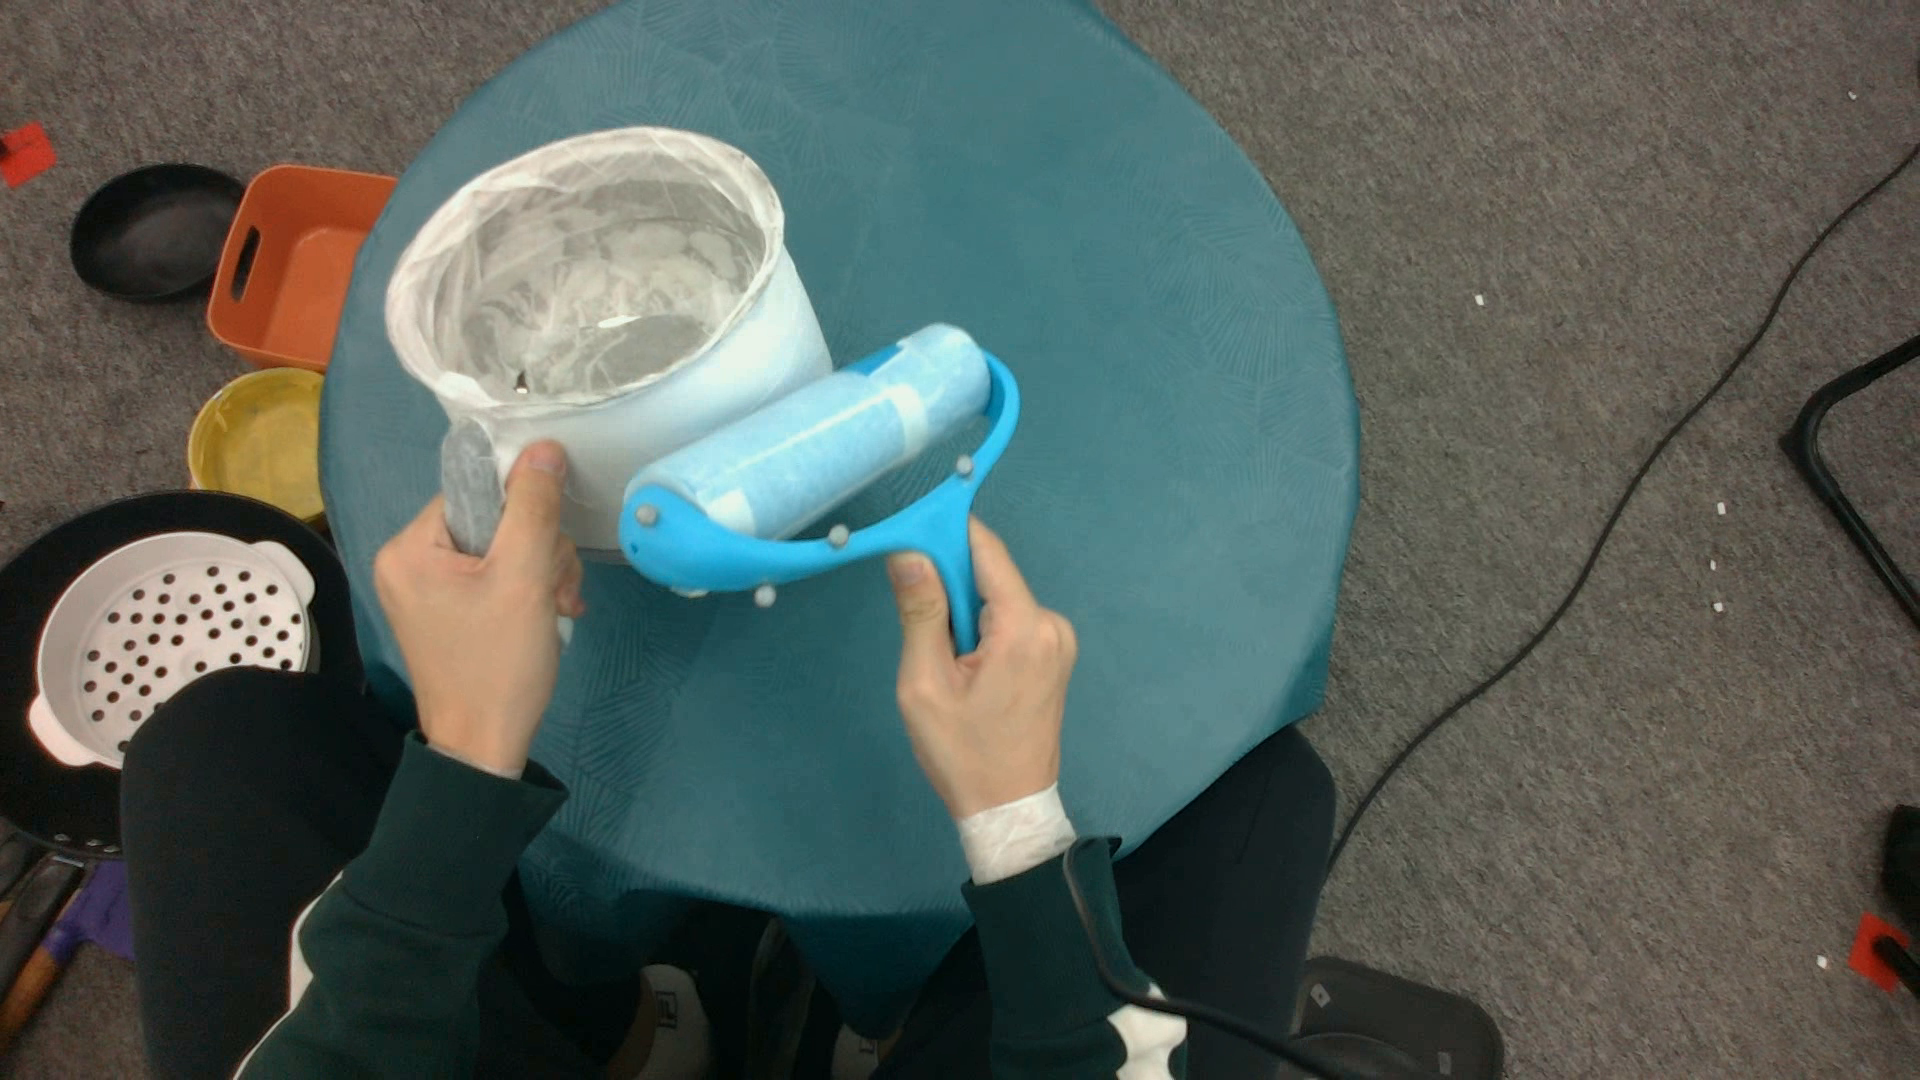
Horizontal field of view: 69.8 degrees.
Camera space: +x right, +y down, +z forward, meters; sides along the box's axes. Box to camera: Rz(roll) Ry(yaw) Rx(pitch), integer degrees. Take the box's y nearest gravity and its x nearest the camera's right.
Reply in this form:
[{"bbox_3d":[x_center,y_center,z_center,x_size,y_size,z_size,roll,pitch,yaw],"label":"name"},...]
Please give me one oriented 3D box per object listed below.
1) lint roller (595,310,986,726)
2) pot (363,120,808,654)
[{"bbox_3d":[-0.035,-0.001,0.614,0.180,0.067,0.230,51,41,-4],"label":"lint roller"},{"bbox_3d":[-0.173,-0.068,0.637,0.178,0.136,0.235,8,56,15],"label":"pot"}]
